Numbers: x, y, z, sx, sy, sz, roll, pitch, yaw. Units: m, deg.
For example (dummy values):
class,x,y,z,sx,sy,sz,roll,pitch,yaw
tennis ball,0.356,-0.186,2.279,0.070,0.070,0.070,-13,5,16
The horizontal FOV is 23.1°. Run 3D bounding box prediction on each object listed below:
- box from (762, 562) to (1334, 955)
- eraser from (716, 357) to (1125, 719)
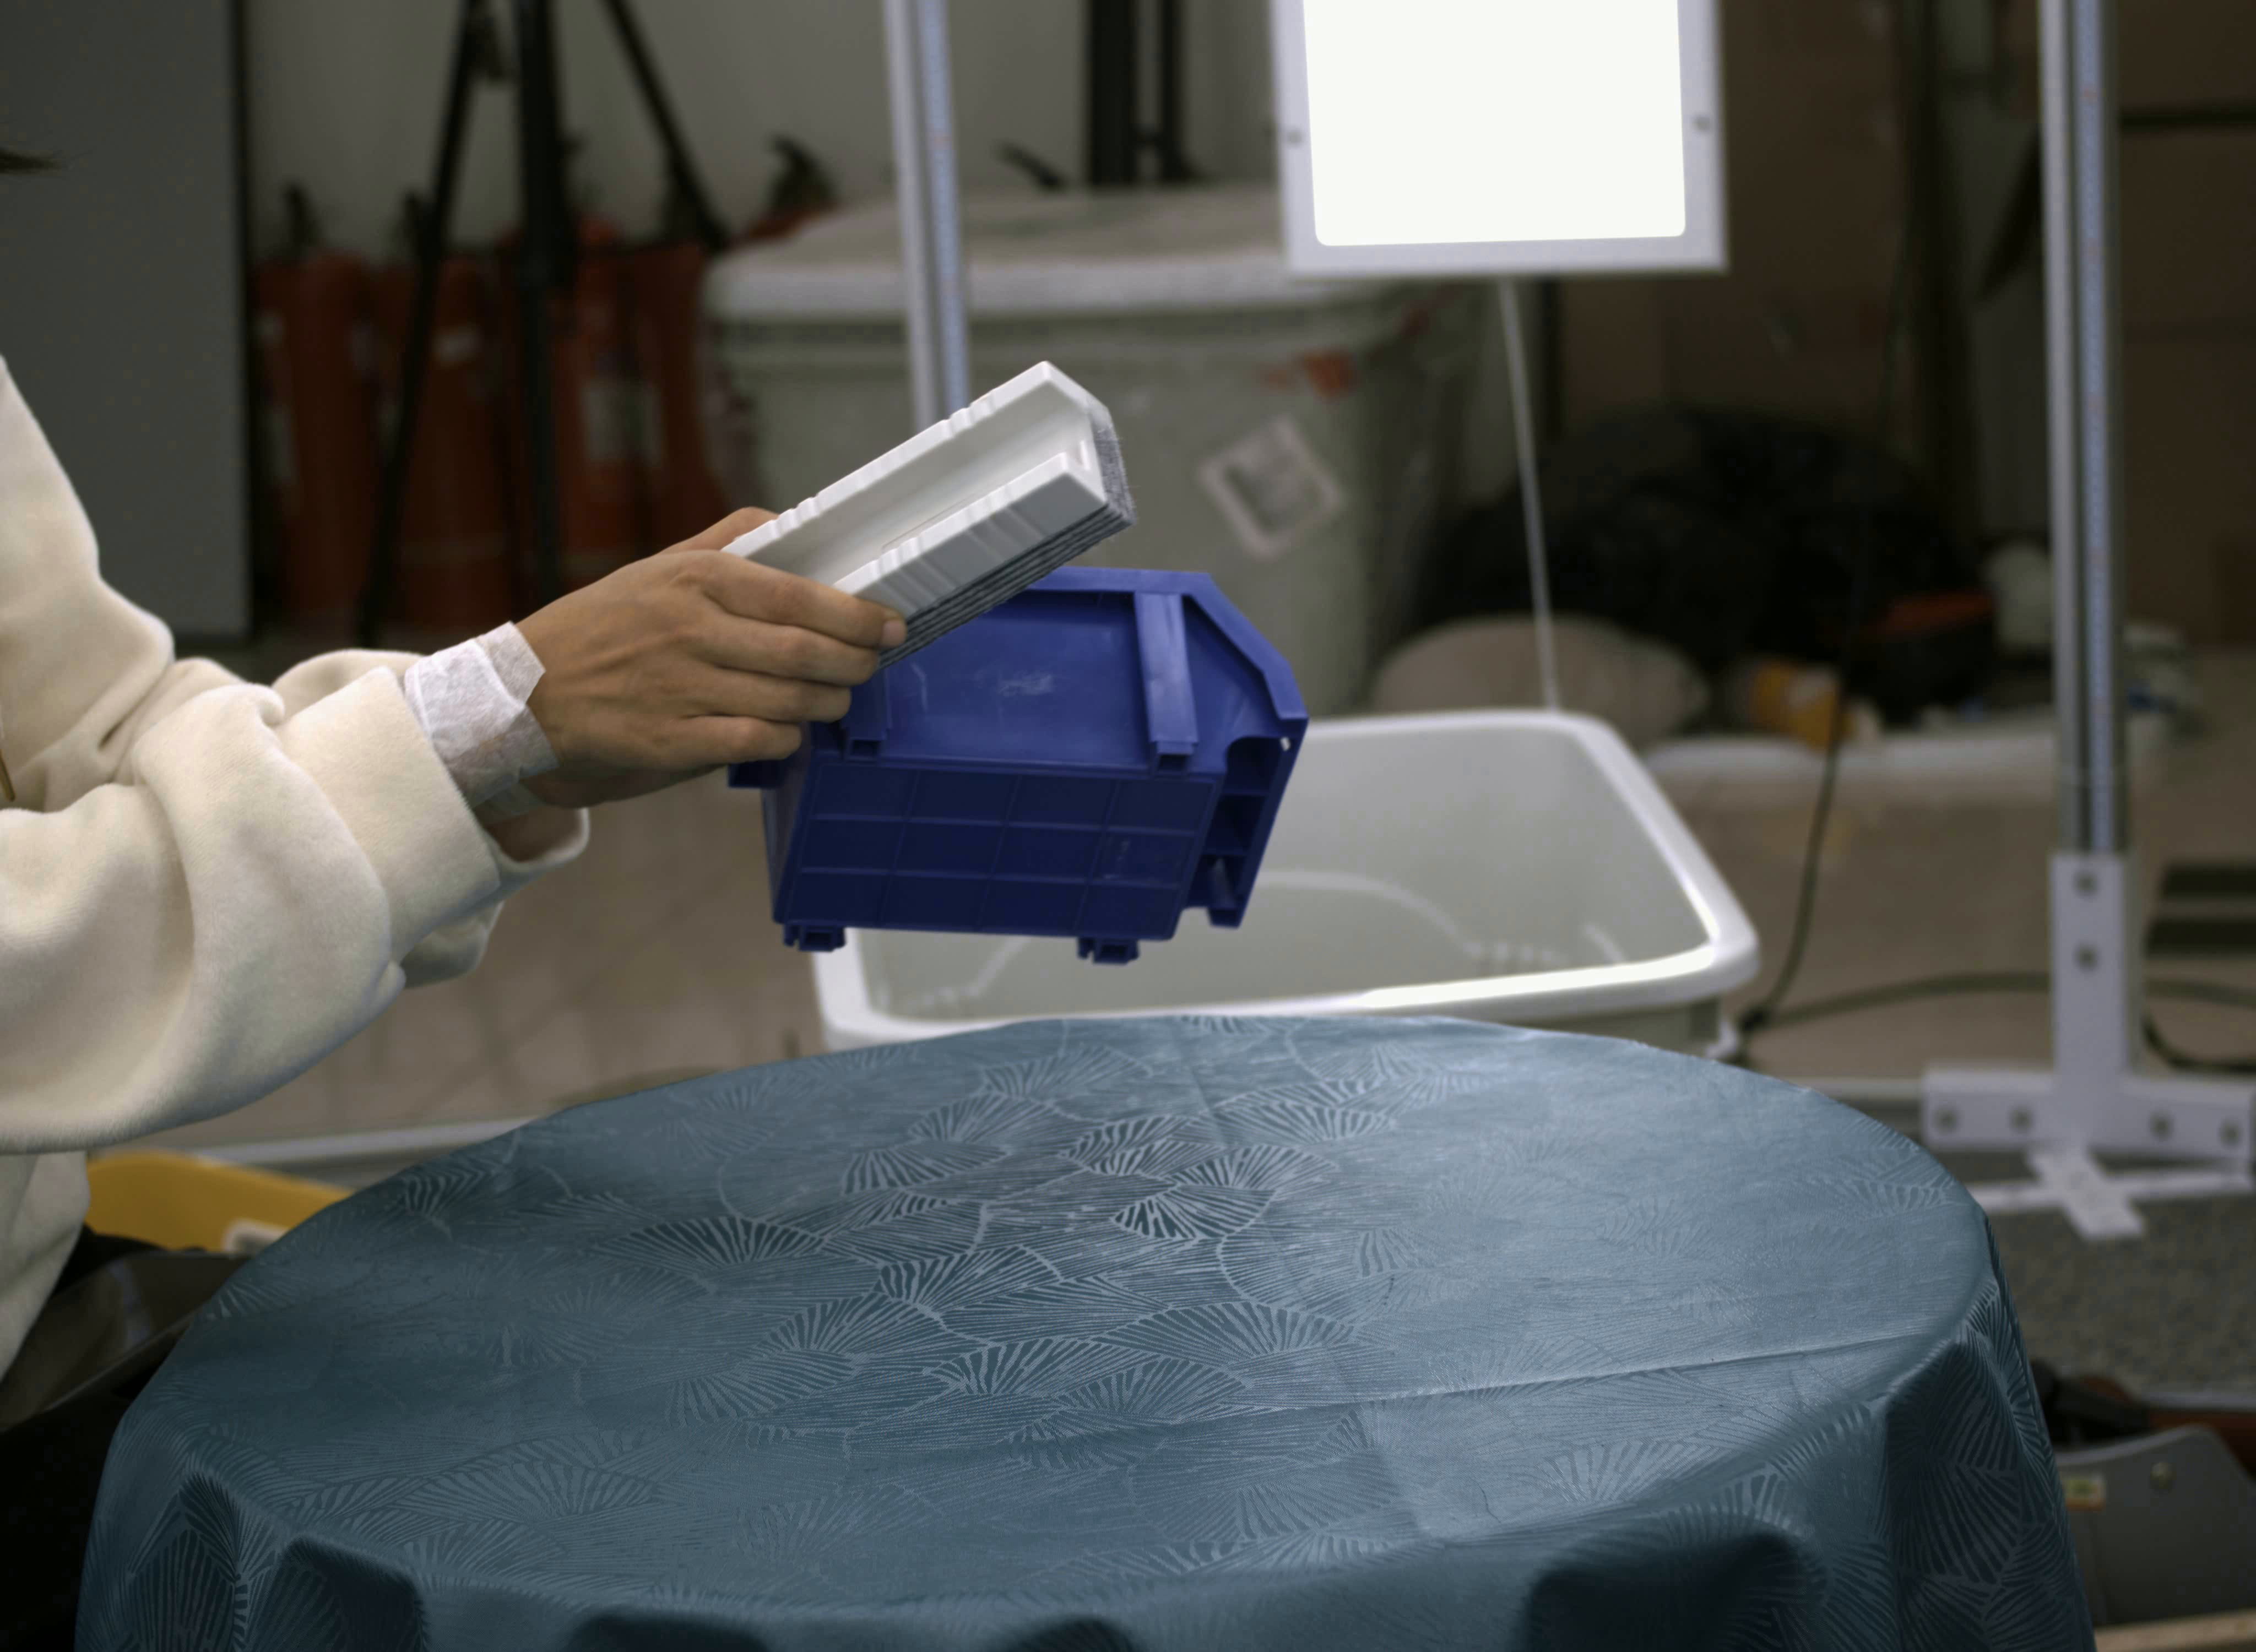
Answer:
class,x,y,z,sx,sy,sz,roll,pitch,yaw
box,-0.029,-0.022,1.890,0.177,0.126,0.082,0,53,-9
eraser,-0.068,-0.092,1.791,0.136,0.050,0.046,-31,-39,22
